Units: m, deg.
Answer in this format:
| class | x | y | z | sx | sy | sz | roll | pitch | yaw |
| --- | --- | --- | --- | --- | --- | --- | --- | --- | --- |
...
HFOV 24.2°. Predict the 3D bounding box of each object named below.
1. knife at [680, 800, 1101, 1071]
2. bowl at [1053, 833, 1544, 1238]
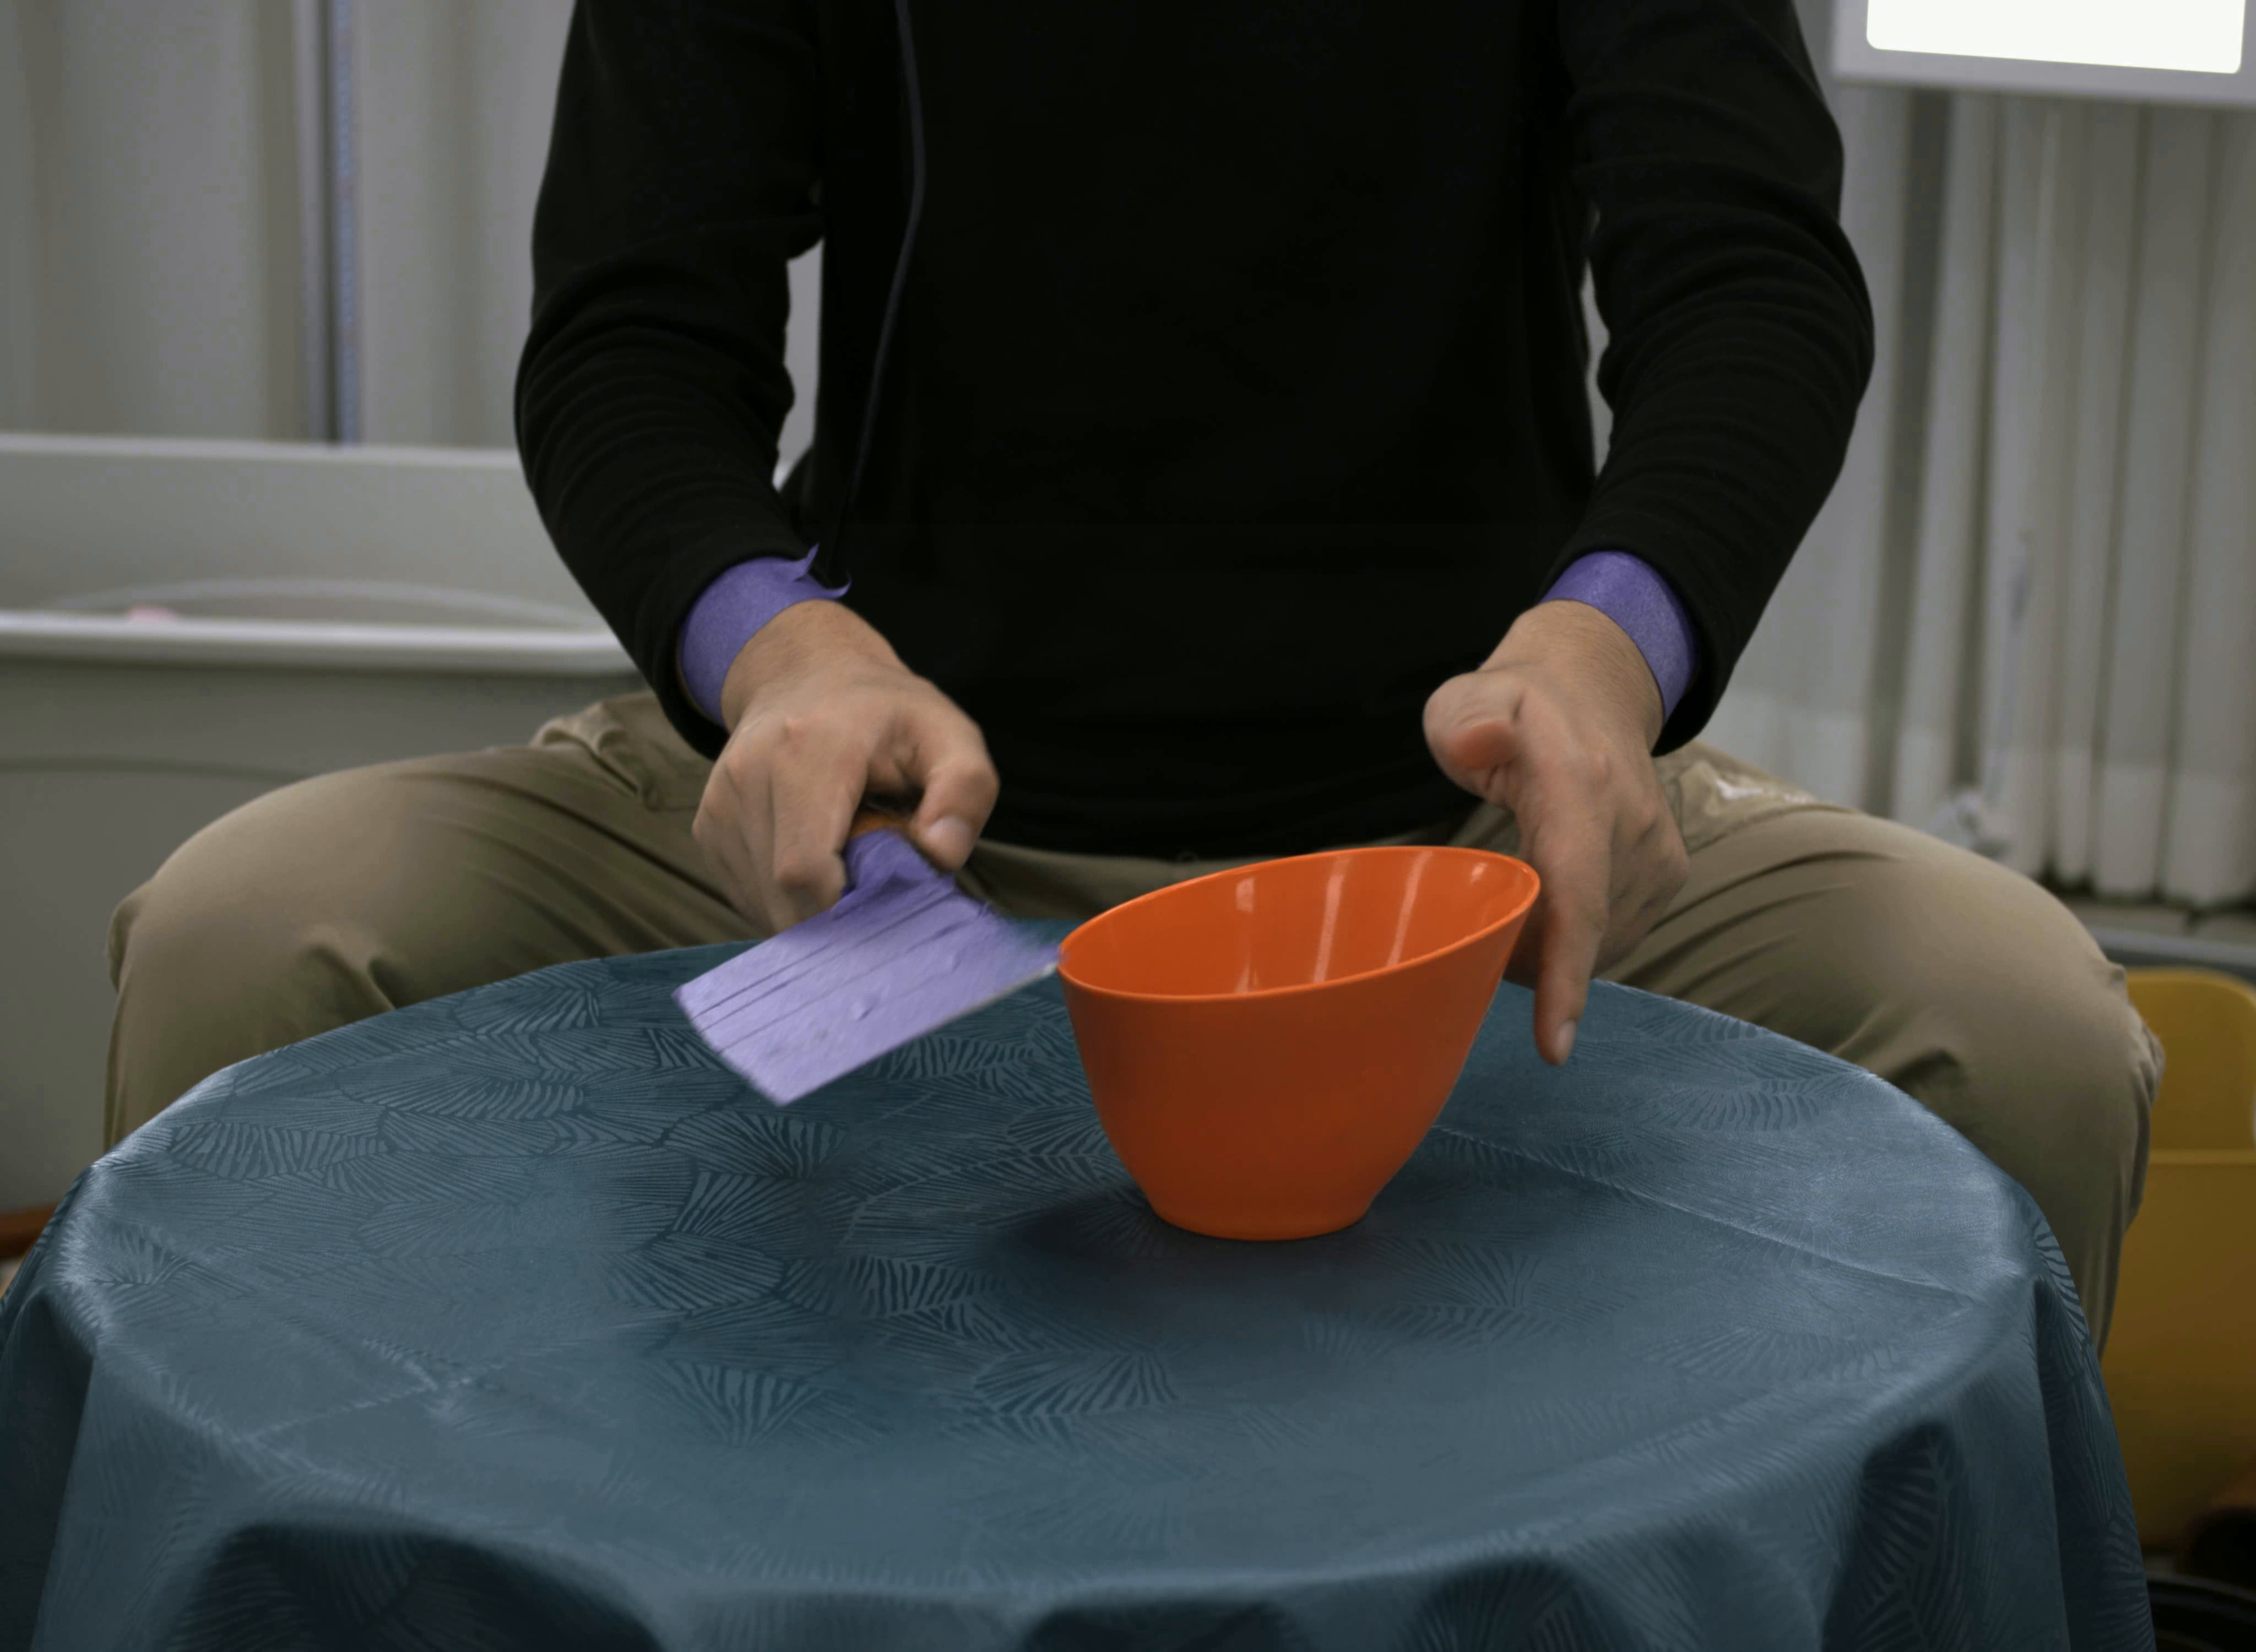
| class | x | y | z | sx | sy | sz | roll | pitch | yaw |
| --- | --- | --- | --- | --- | --- | --- | --- | --- | --- |
| knife | -0.090 | 0.031 | 1.602 | 0.104 | 0.032 | 0.313 | -27 | 10 | -10 |
| bowl | 0.050 | 0.065 | 1.594 | 0.147 | 0.105 | 0.147 | 2 | 19 | 0 |
